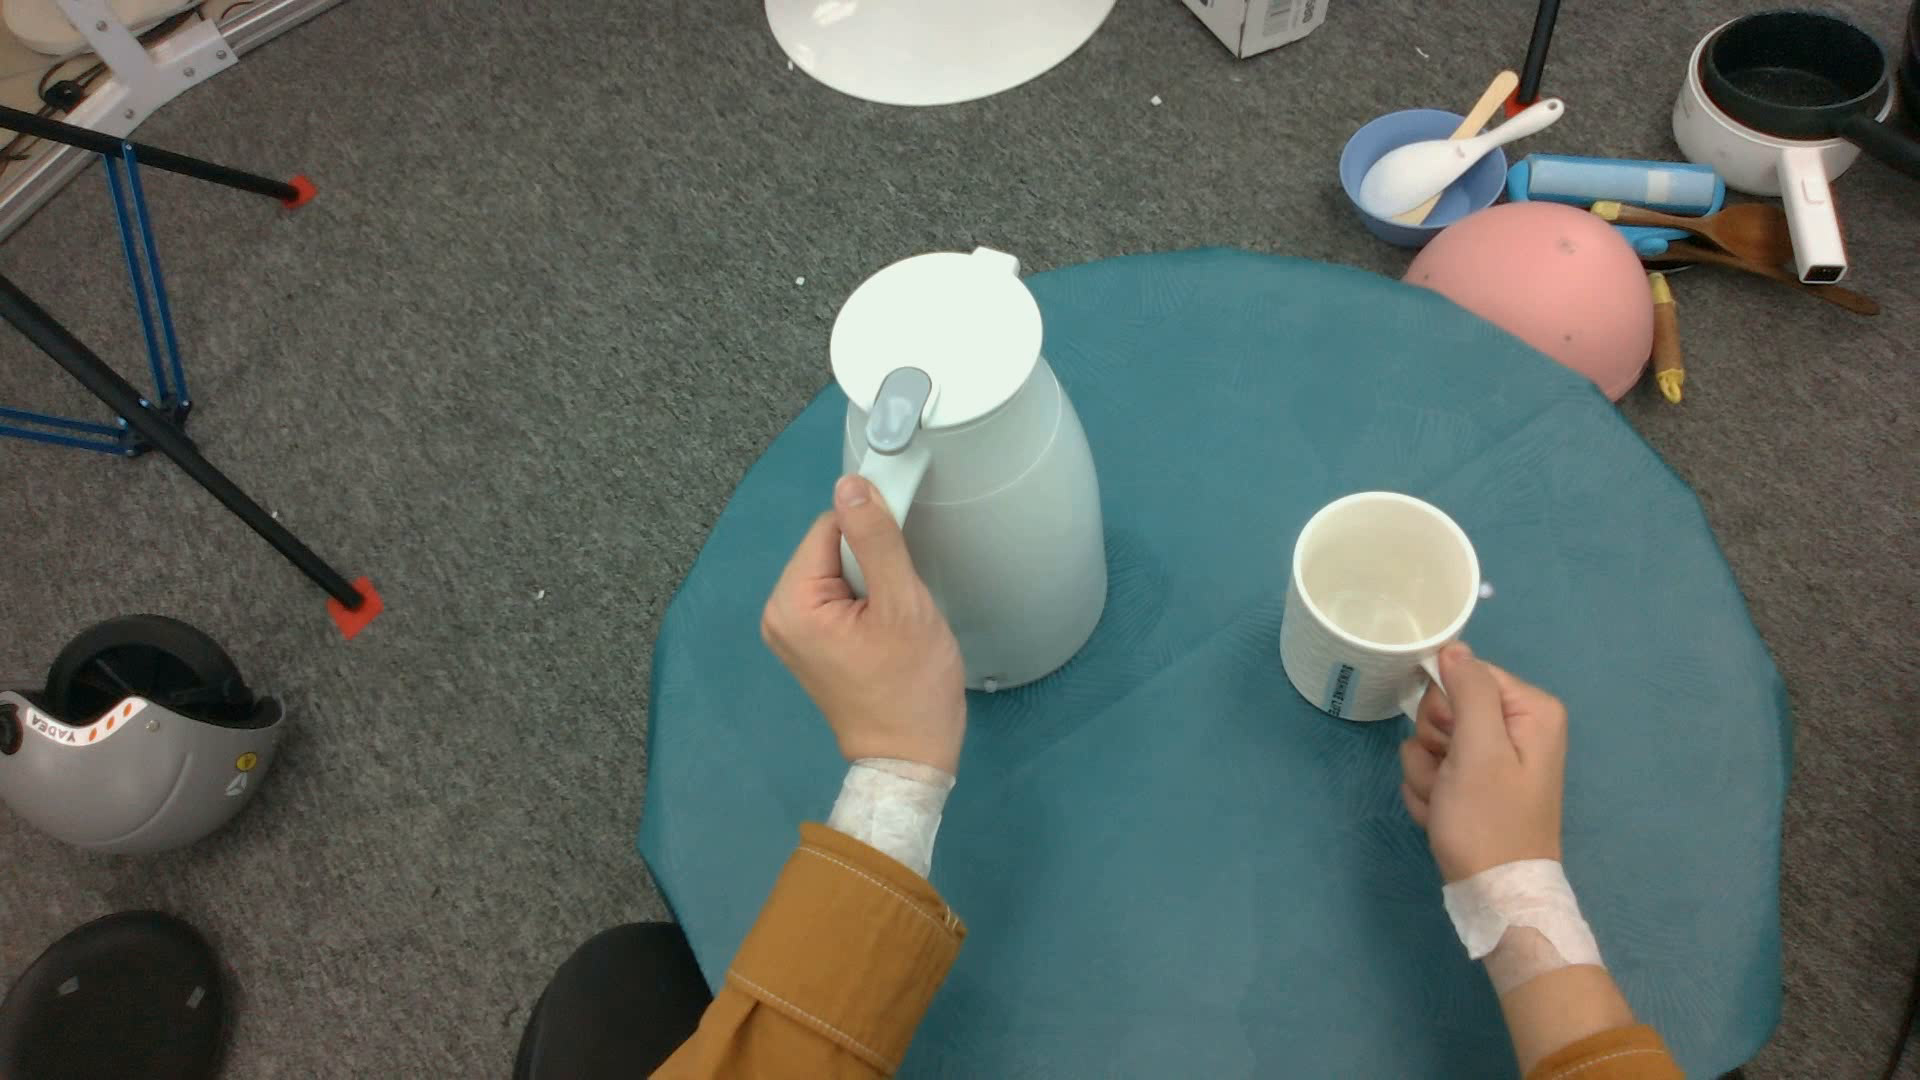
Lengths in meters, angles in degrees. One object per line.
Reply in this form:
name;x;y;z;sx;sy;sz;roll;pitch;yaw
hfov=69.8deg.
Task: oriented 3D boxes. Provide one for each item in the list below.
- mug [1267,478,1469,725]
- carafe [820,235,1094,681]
mug;0.211;0.042;0.699;0.085;0.101;0.118;-29;62;-8
carafe;-0.008;-0.021;0.677;0.132;0.247;0.168;18;66;15
